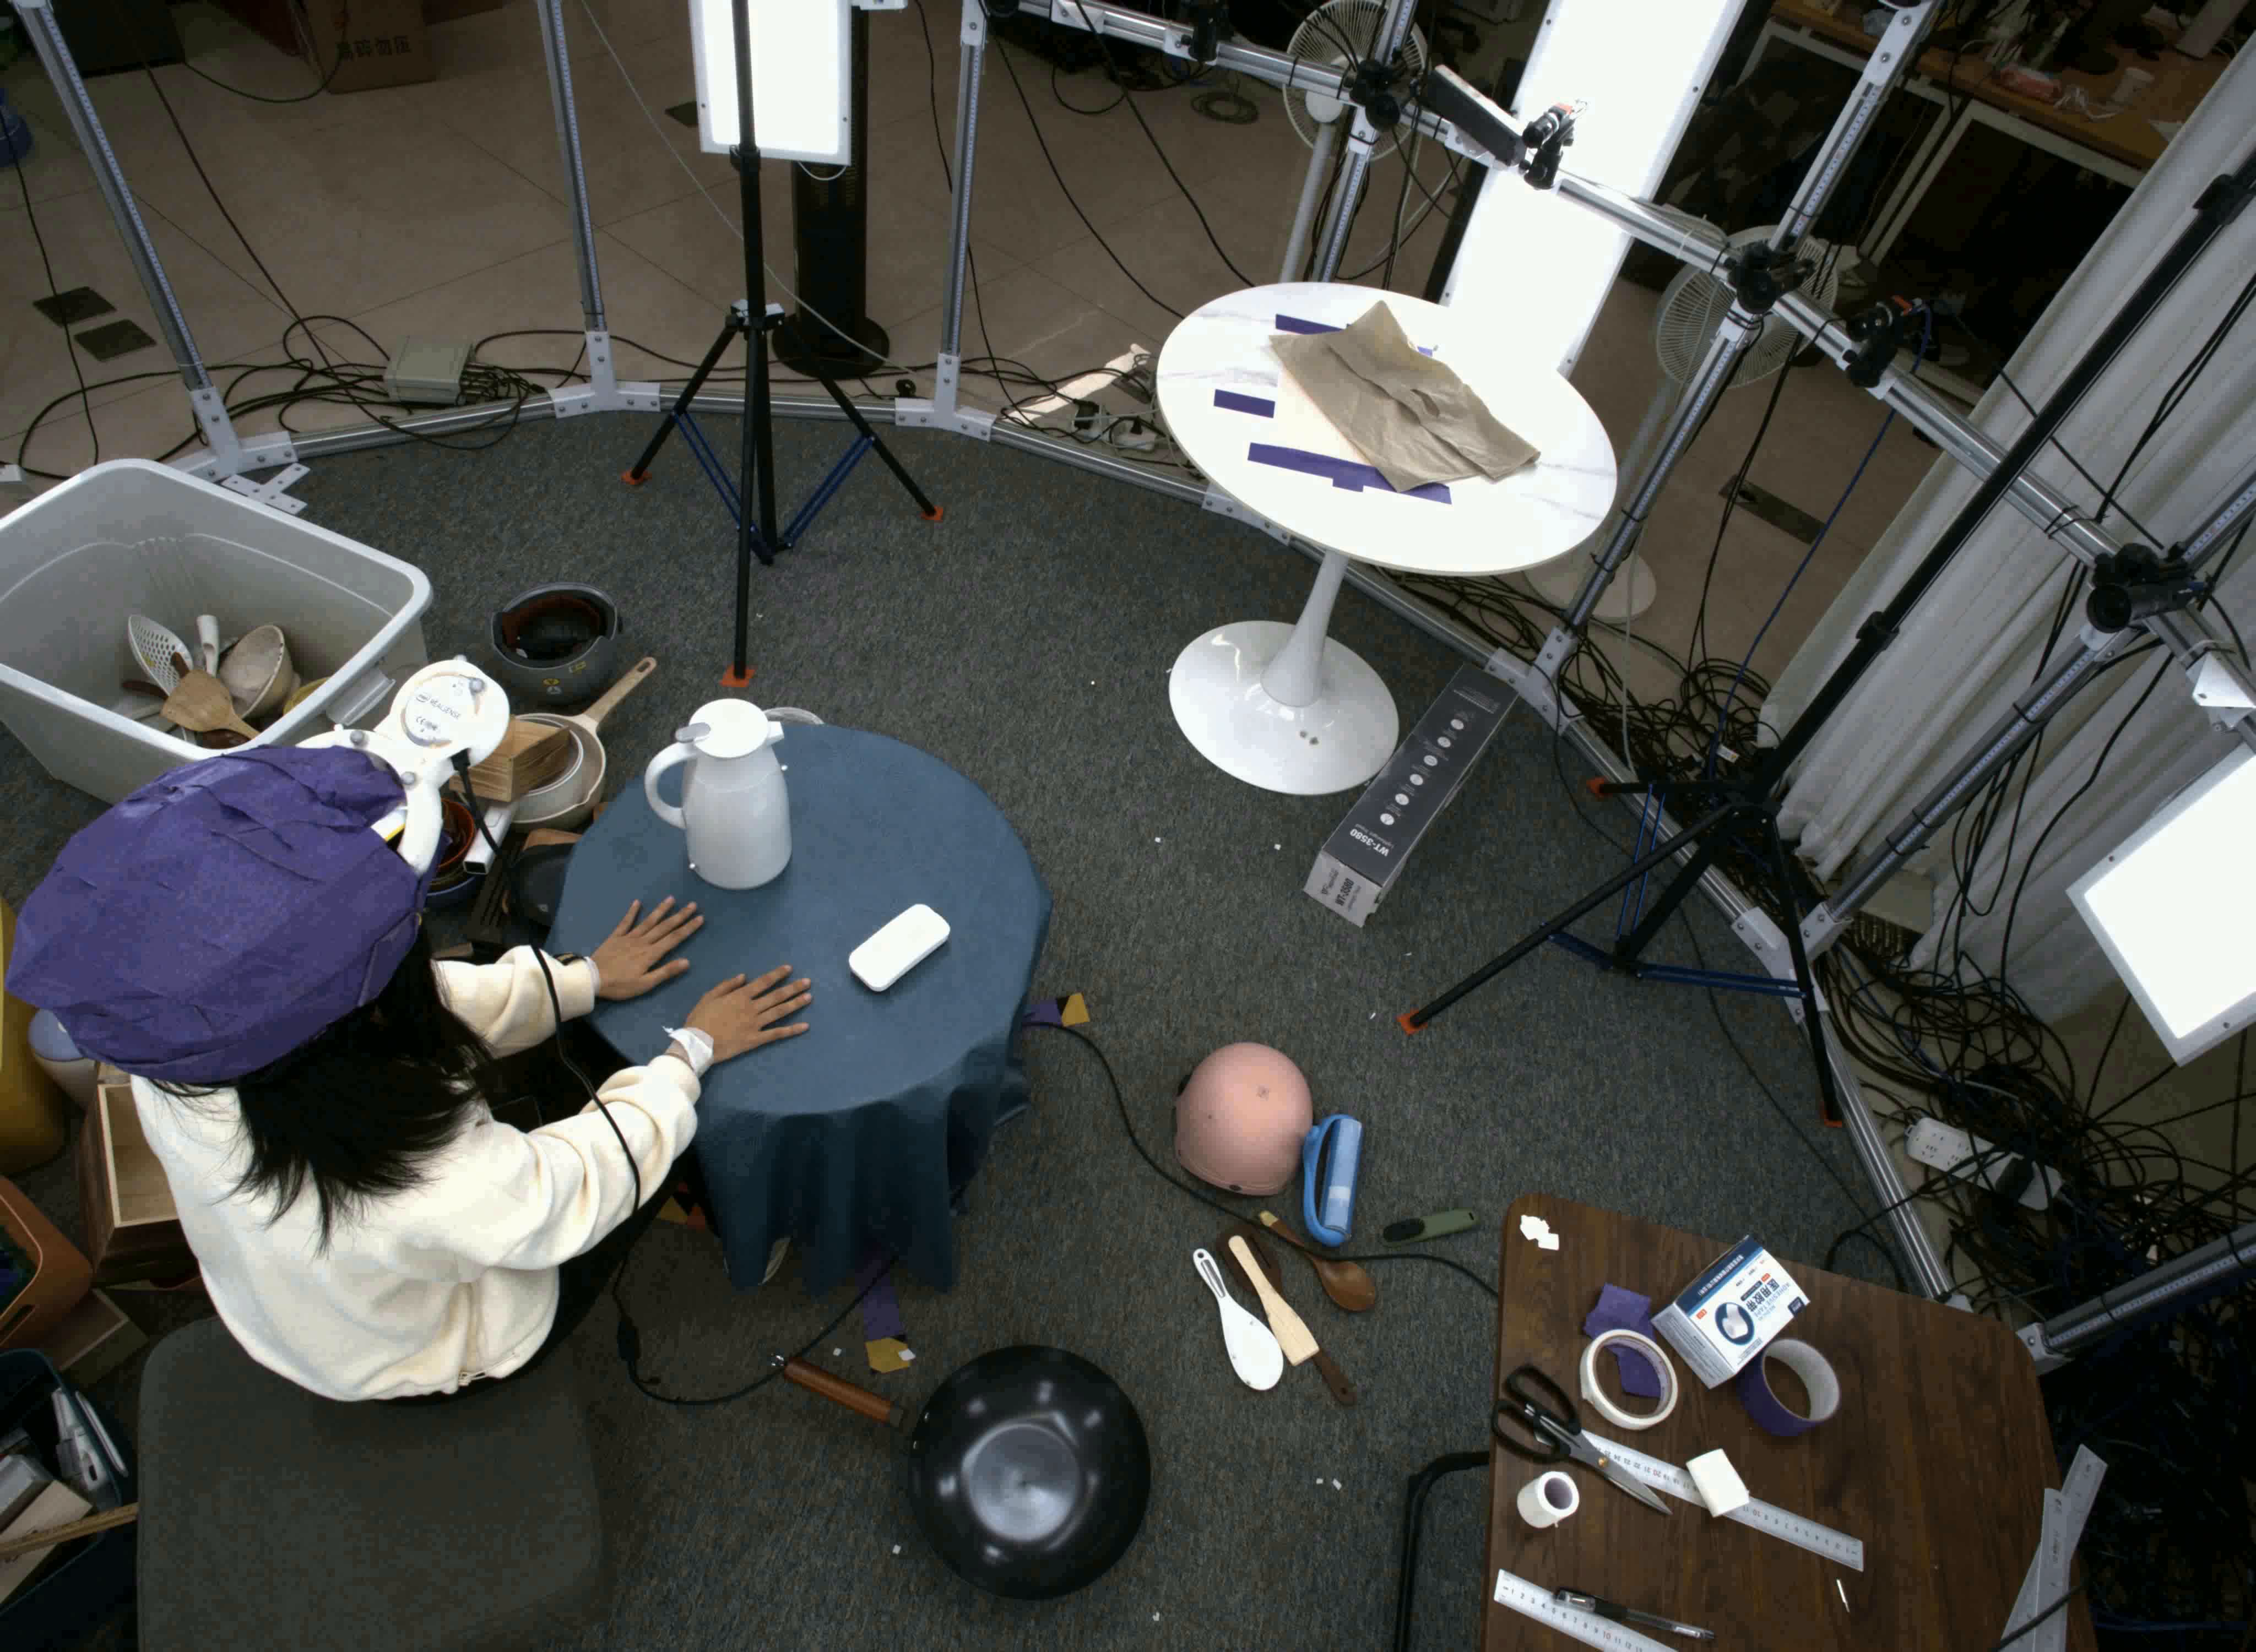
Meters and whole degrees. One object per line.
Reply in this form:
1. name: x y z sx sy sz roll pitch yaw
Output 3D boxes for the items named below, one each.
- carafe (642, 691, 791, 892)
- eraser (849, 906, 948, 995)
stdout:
1. carafe: -0.502 -0.043 1.569 0.168 0.254 0.129 -13 56 -21
2. eraser: -0.286 0.150 1.622 0.062 0.035 0.131 37 53 18
